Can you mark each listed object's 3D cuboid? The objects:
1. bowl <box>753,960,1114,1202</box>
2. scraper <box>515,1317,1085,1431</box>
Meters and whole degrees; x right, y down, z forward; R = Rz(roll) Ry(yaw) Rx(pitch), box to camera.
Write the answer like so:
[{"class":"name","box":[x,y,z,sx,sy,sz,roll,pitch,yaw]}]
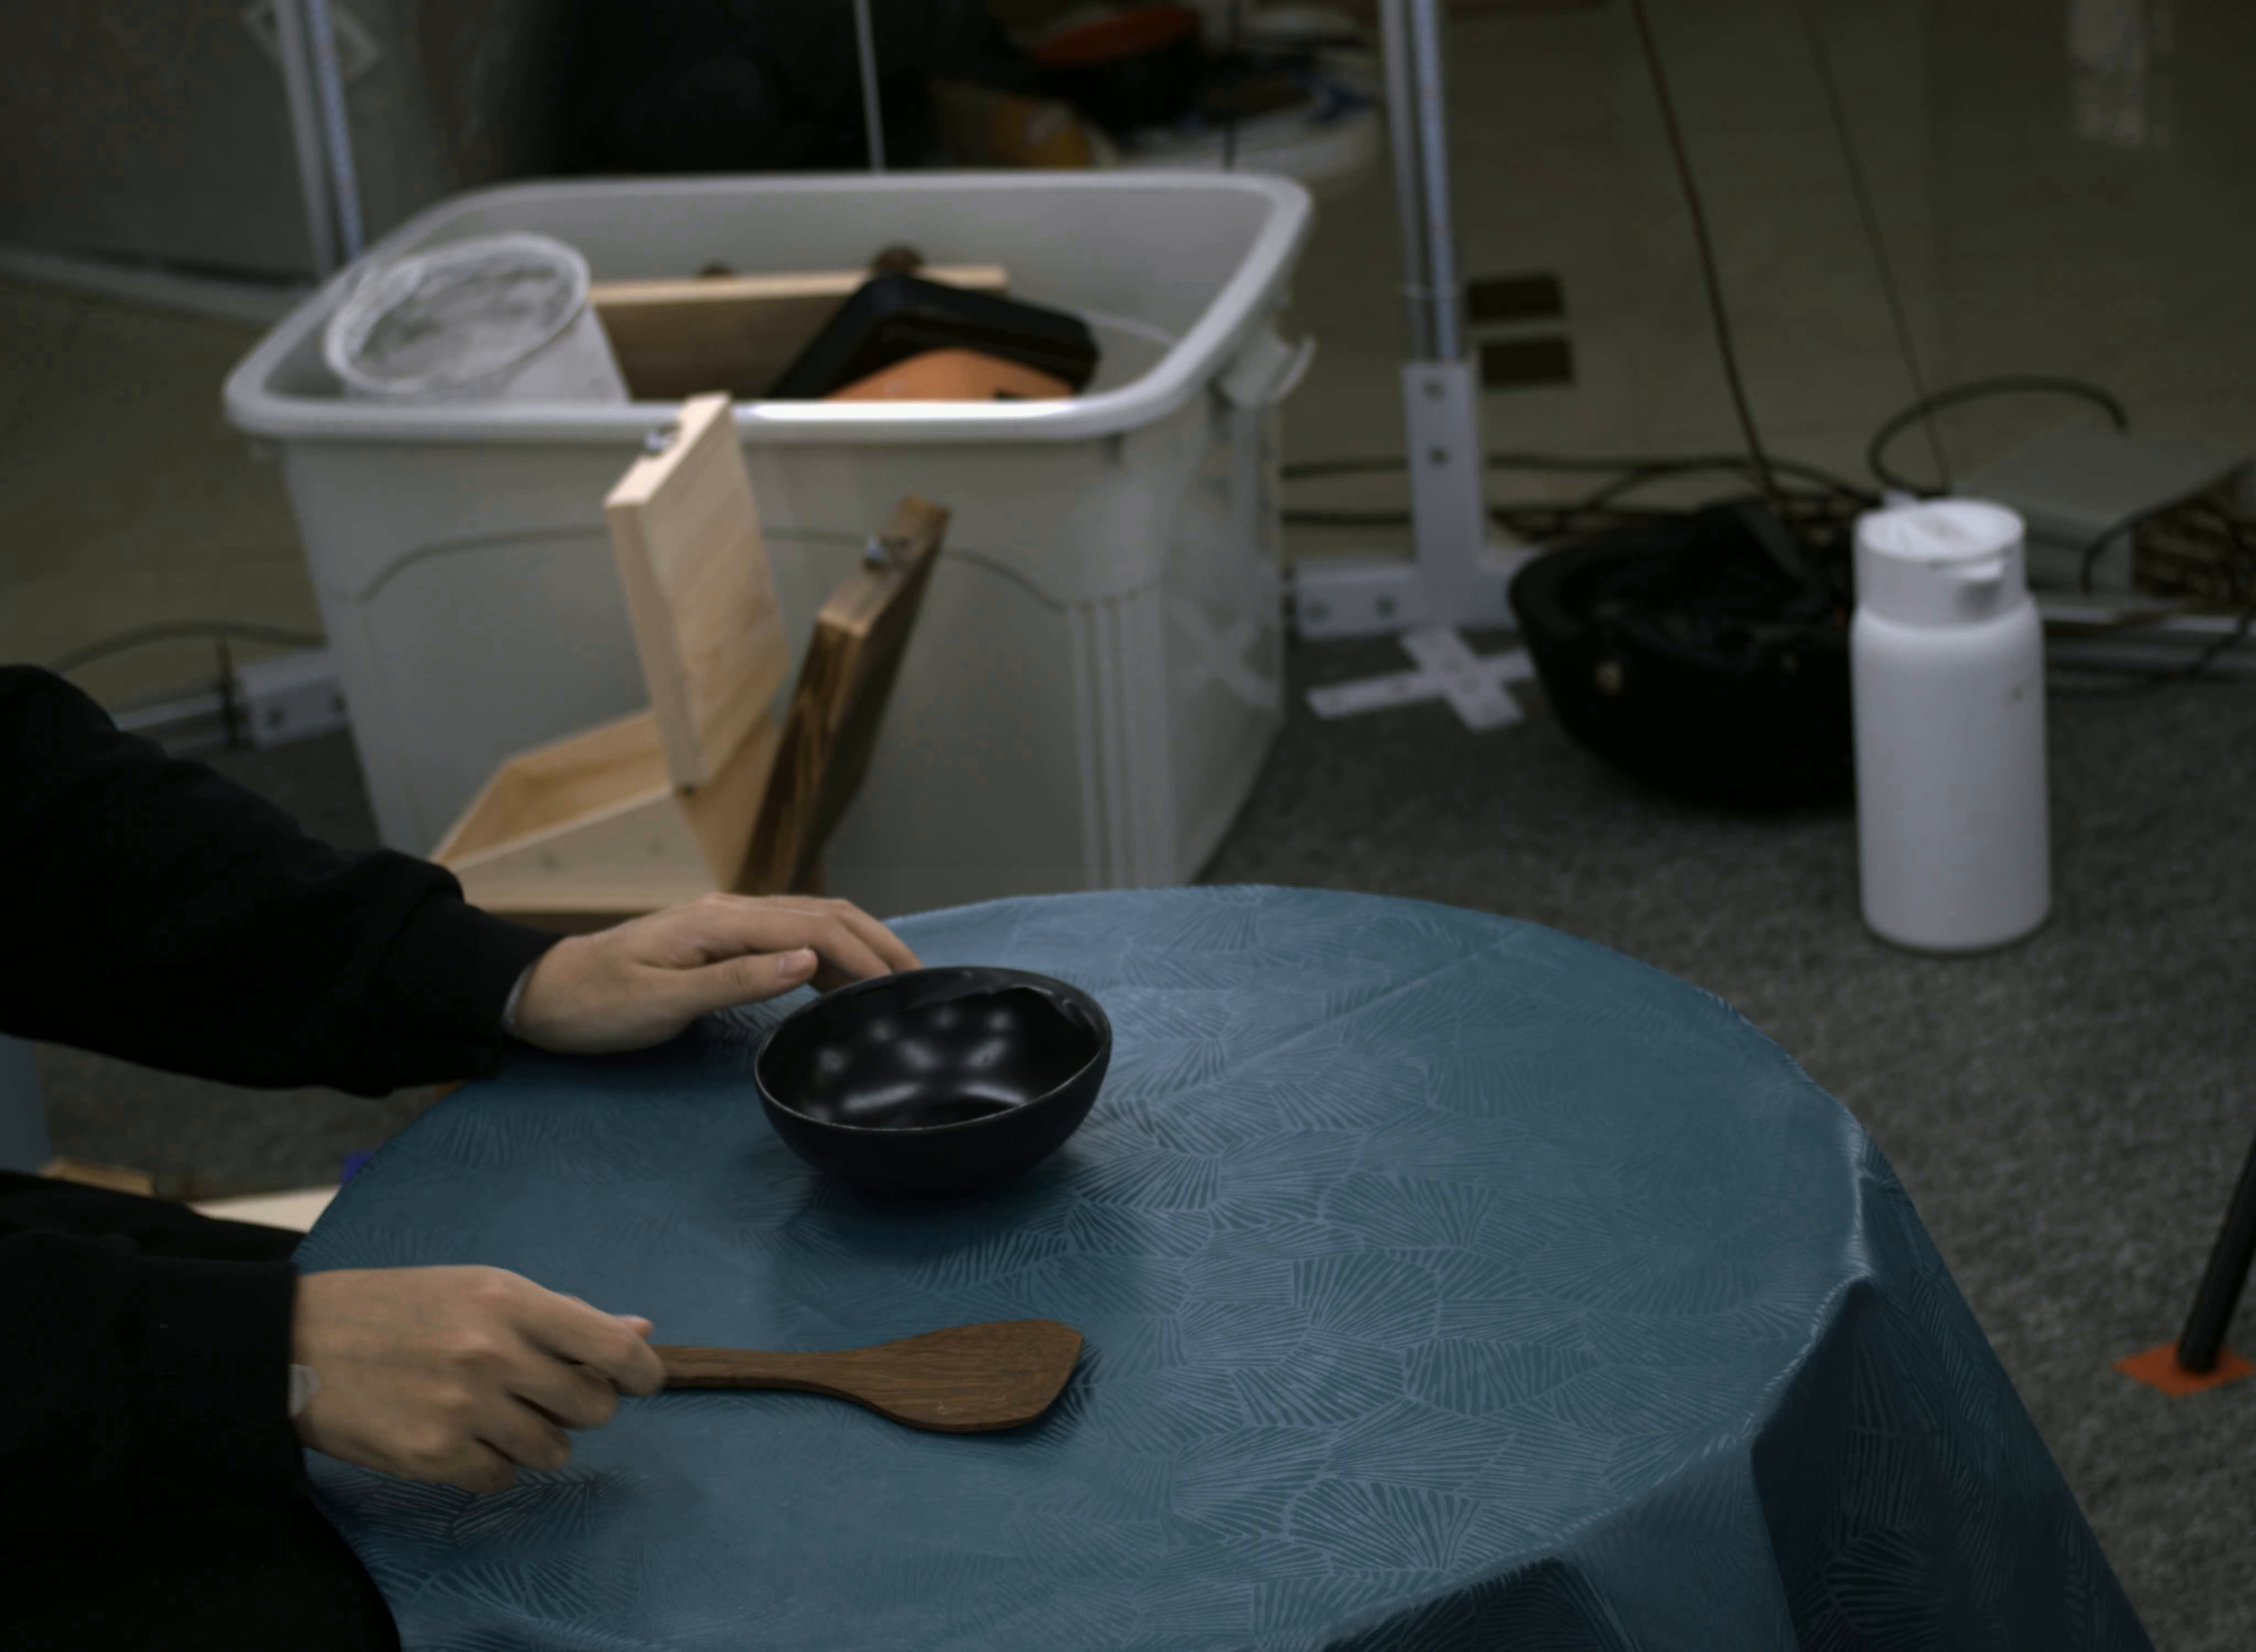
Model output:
[{"class":"bowl","box":[-0.073,0.106,2.183,0.140,0.050,0.138,-4,28,2]},{"class":"scraper","box":[-0.120,0.197,2.049,0.211,0.011,0.075,0,24,15]}]
